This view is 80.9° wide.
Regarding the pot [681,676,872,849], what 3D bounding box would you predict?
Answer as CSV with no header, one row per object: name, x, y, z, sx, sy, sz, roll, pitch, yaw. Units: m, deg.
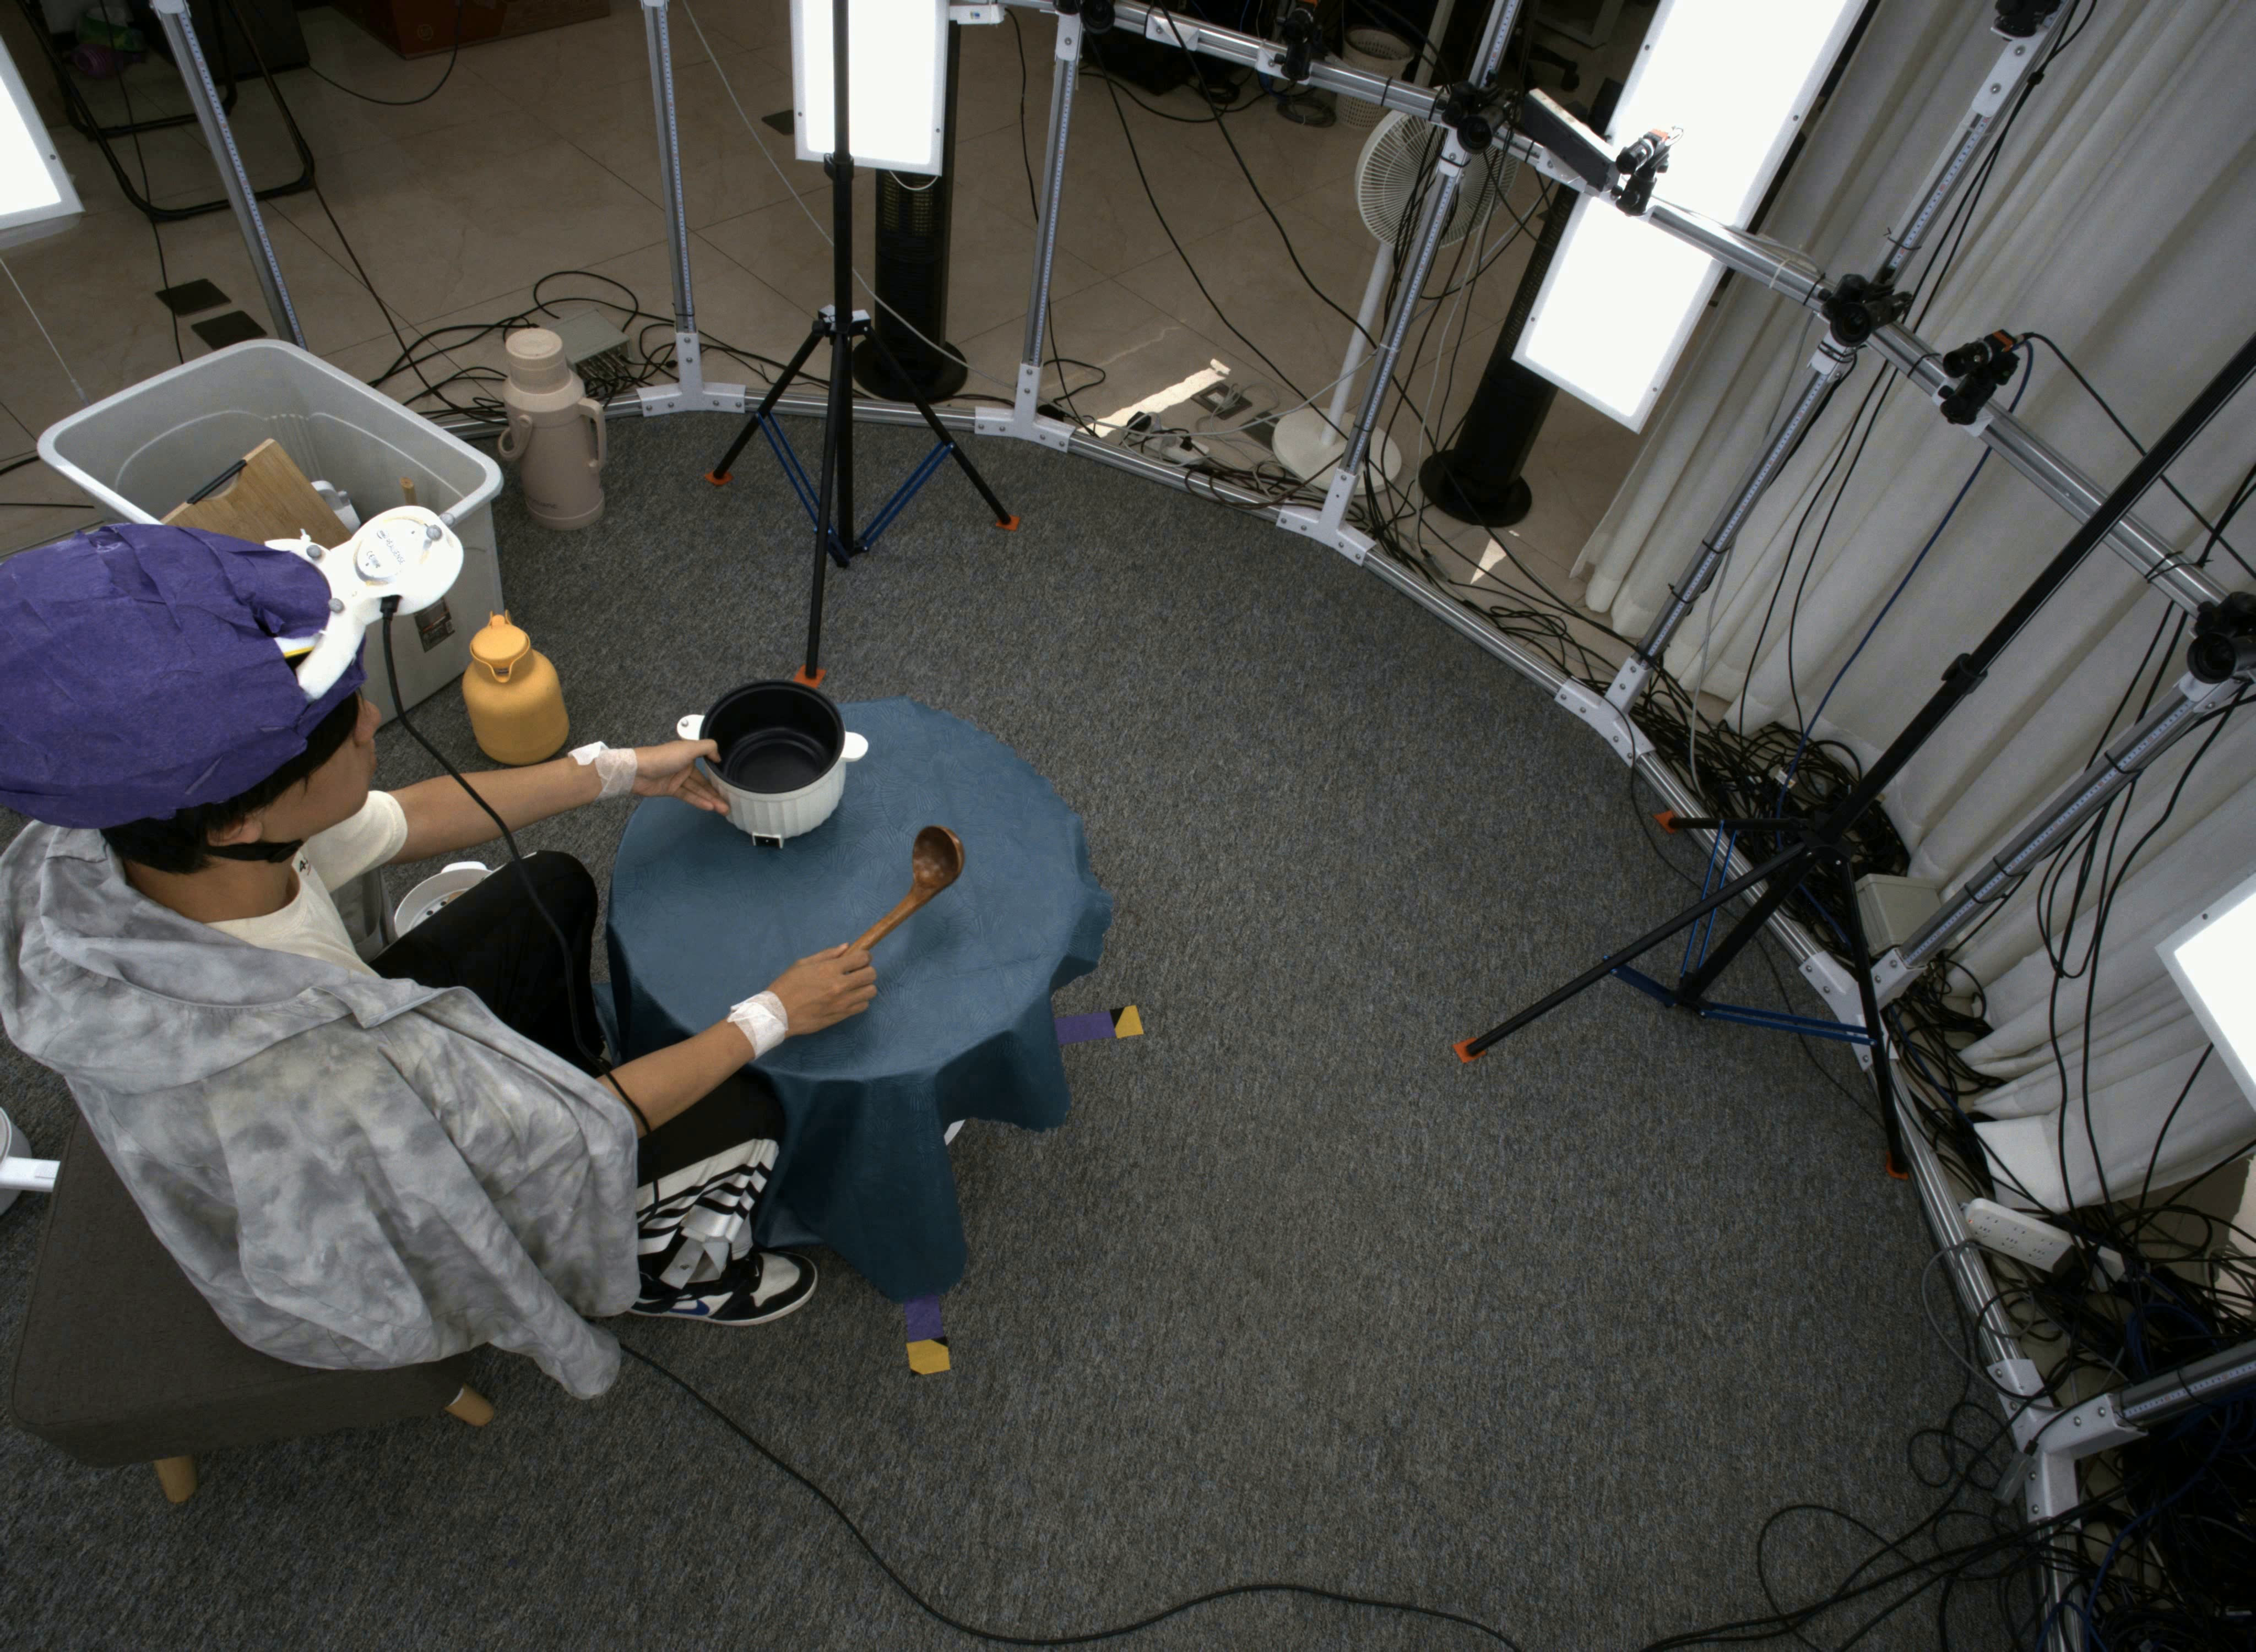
pot,-0.453,-0.085,1.688,0.240,0.145,0.188,6,60,-8

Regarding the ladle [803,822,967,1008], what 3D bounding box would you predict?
ladle,-0.297,0.100,1.563,0.079,0.079,0.274,18,50,39
